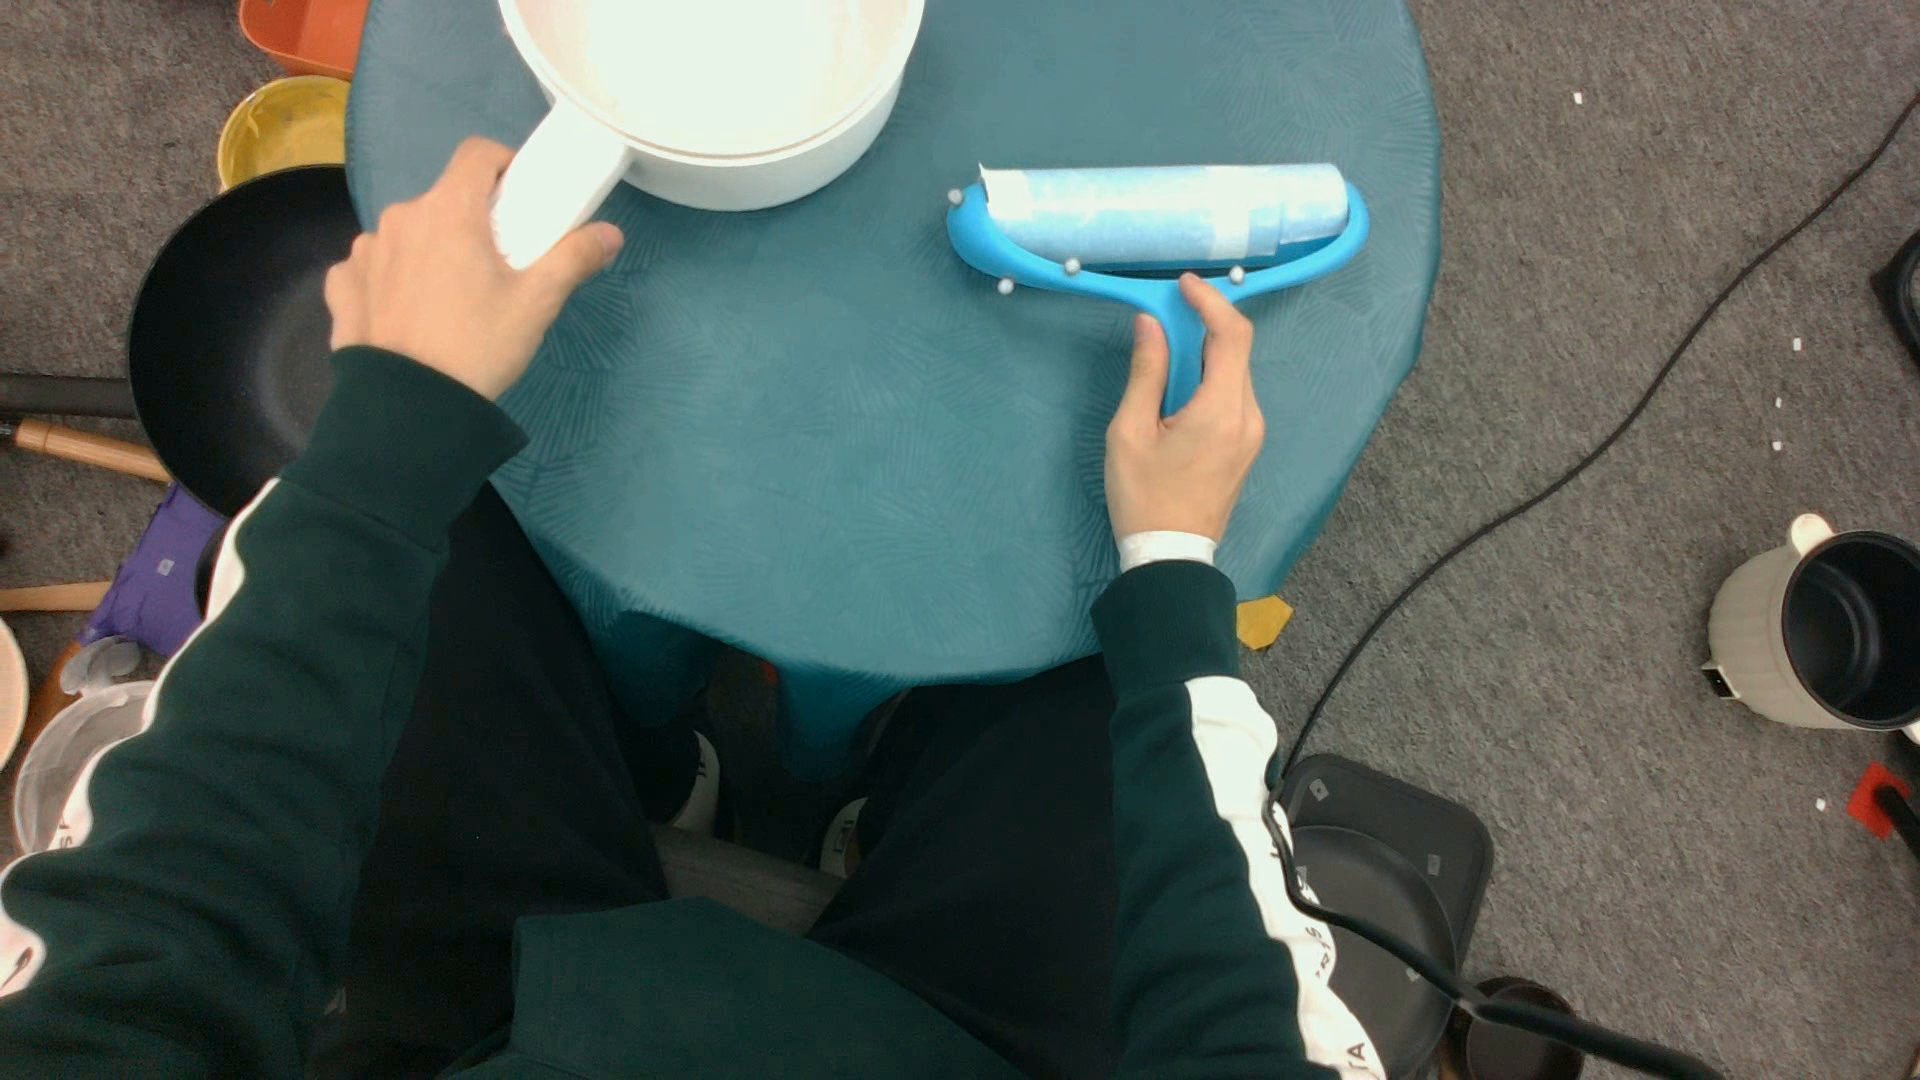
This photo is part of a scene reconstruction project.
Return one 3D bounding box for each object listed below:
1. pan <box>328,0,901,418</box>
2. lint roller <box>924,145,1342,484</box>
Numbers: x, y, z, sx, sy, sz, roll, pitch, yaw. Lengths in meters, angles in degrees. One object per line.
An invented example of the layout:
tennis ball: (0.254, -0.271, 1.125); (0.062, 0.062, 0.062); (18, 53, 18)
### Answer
pan: (-0.175, -0.208, 0.683); (0.201, 0.102, 0.355); (34, 80, -4)
lint roller: (0.103, -0.124, 0.735); (0.229, 0.068, 0.180); (-7, 82, -11)
